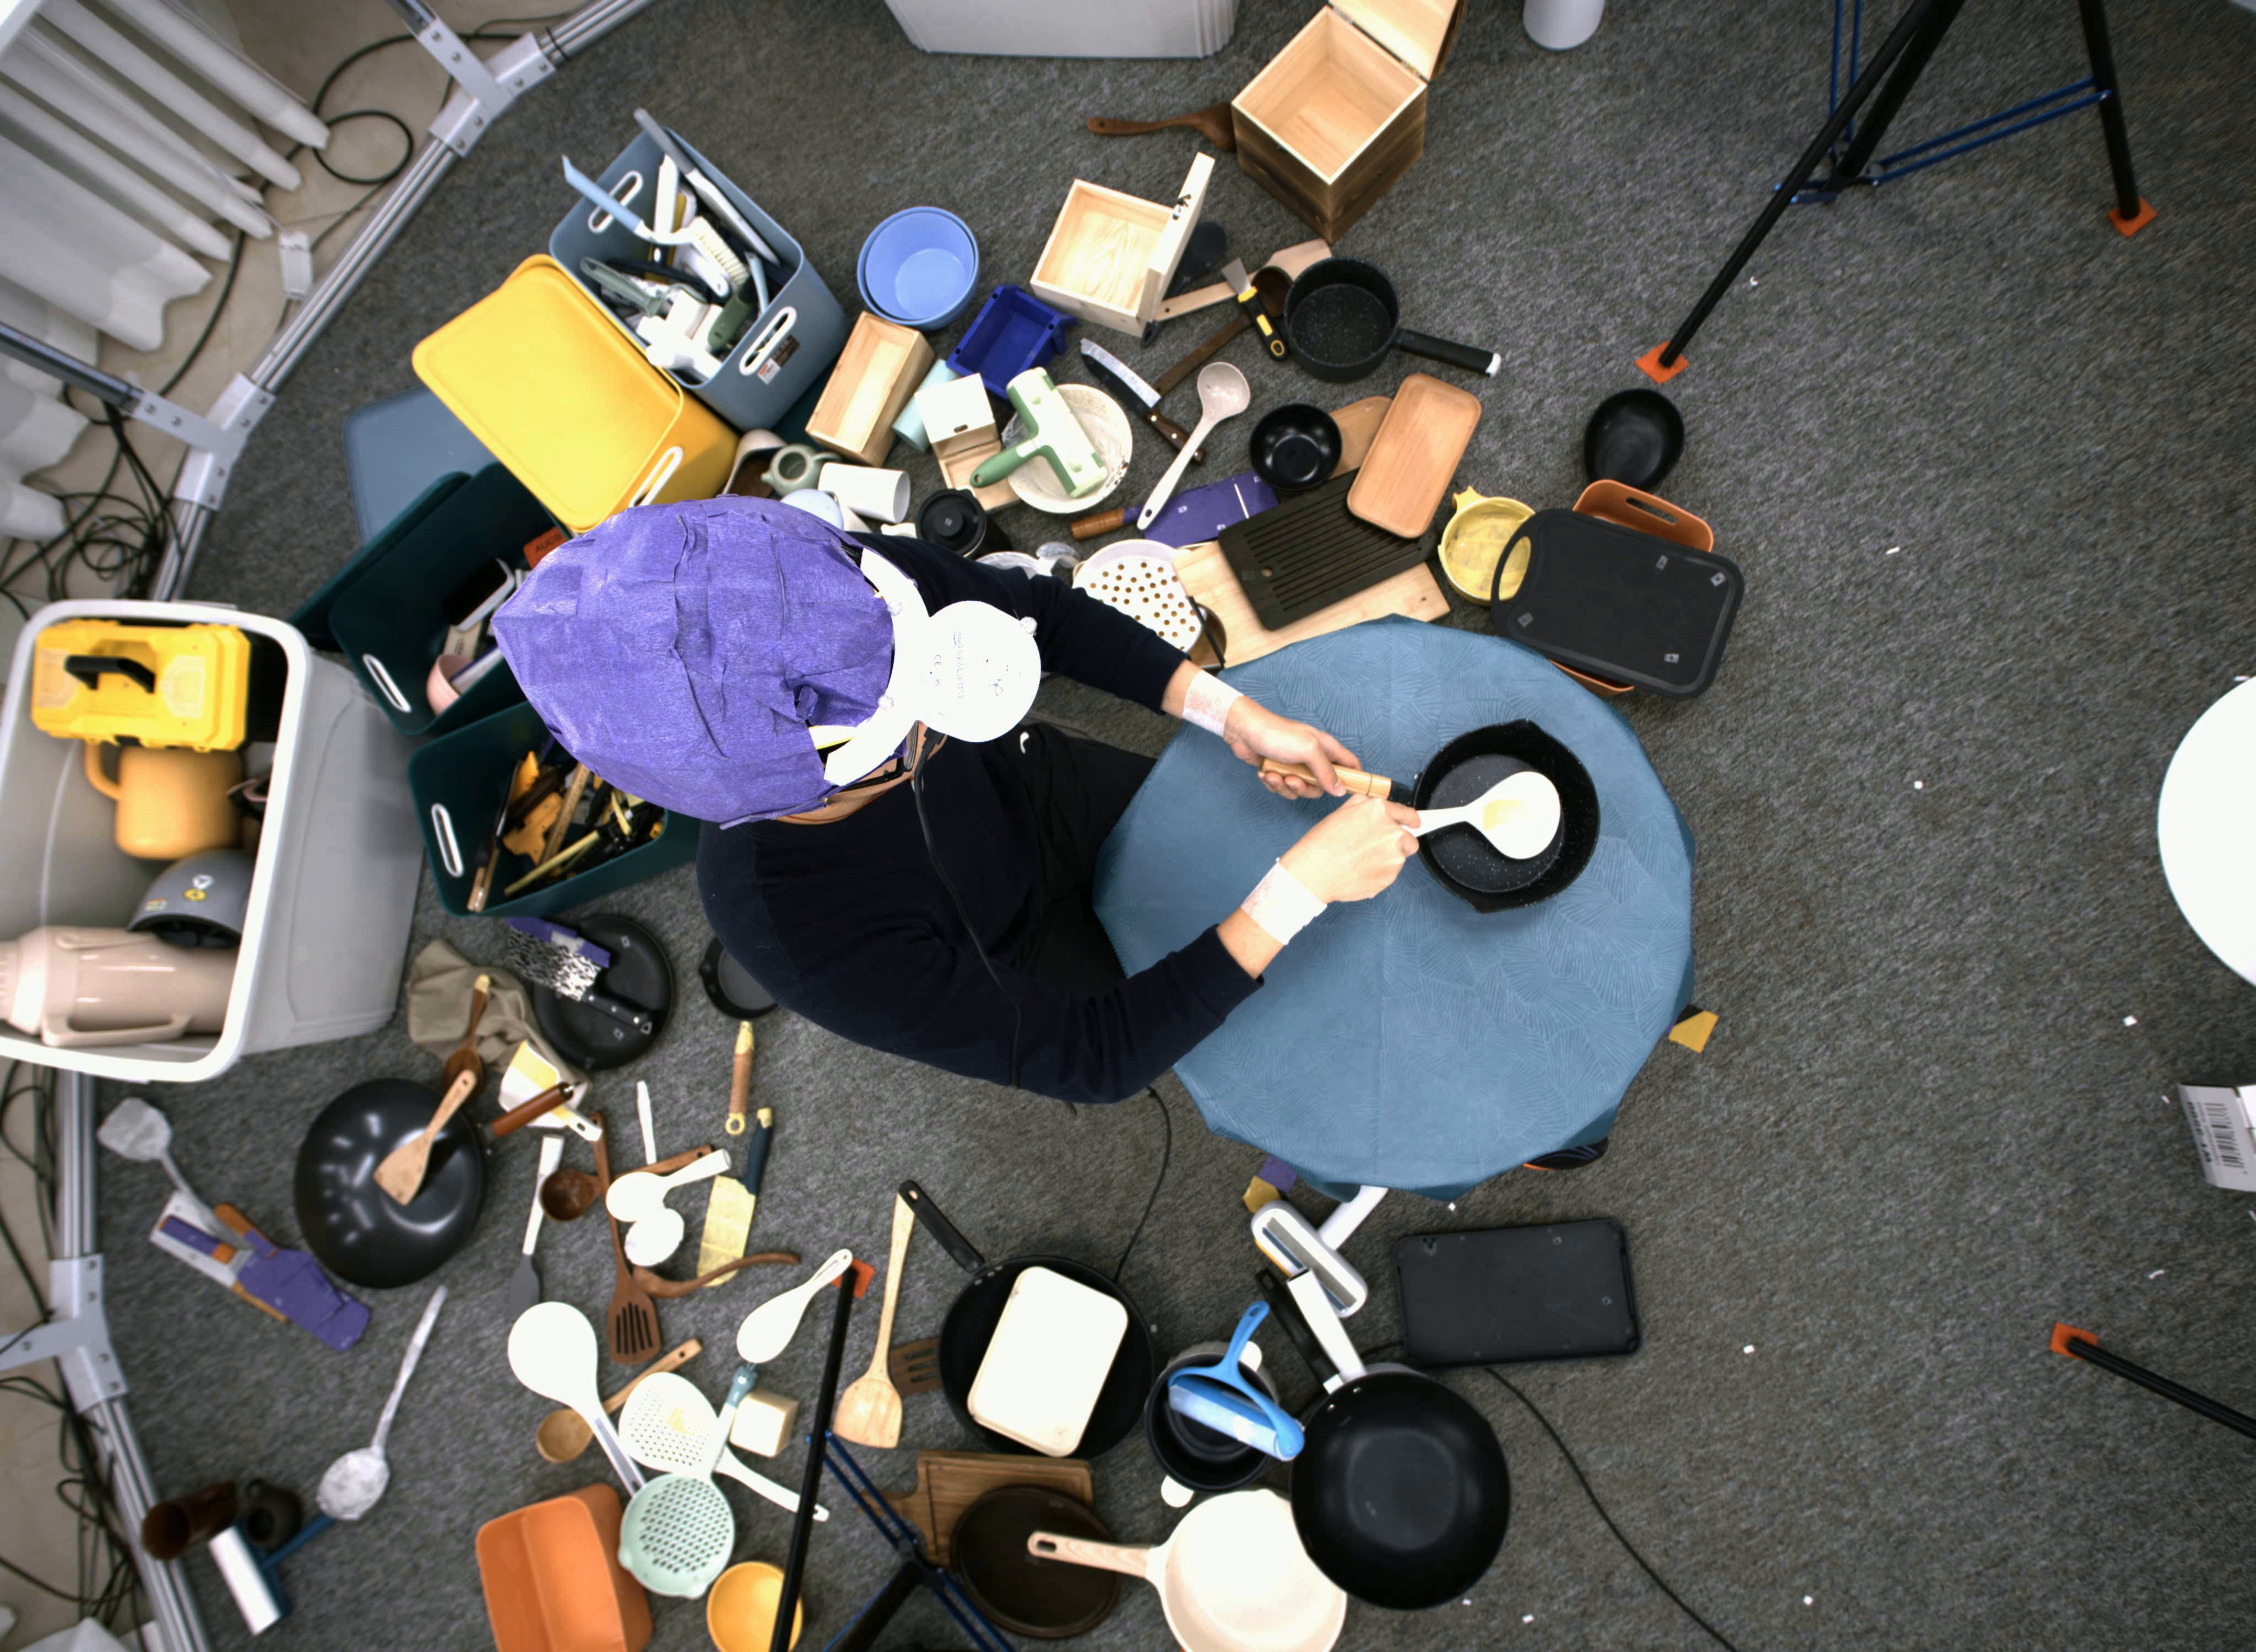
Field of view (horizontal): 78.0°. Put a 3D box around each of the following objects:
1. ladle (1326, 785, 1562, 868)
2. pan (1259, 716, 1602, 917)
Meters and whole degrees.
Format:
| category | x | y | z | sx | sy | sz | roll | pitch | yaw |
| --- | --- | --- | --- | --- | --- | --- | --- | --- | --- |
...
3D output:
| category | x | y | z | sx | sy | sz | roll | pitch | yaw |
| --- | --- | --- | --- | --- | --- | --- | --- | --- | --- |
| ladle | 0.313 | 0.004 | 1.337 | 0.069 | 0.290 | 0.091 | 28 | 114 | 44 |
| pan | 0.301 | -0.025 | 1.399 | 0.343 | 0.108 | 0.207 | 12 | 90 | 7 |
